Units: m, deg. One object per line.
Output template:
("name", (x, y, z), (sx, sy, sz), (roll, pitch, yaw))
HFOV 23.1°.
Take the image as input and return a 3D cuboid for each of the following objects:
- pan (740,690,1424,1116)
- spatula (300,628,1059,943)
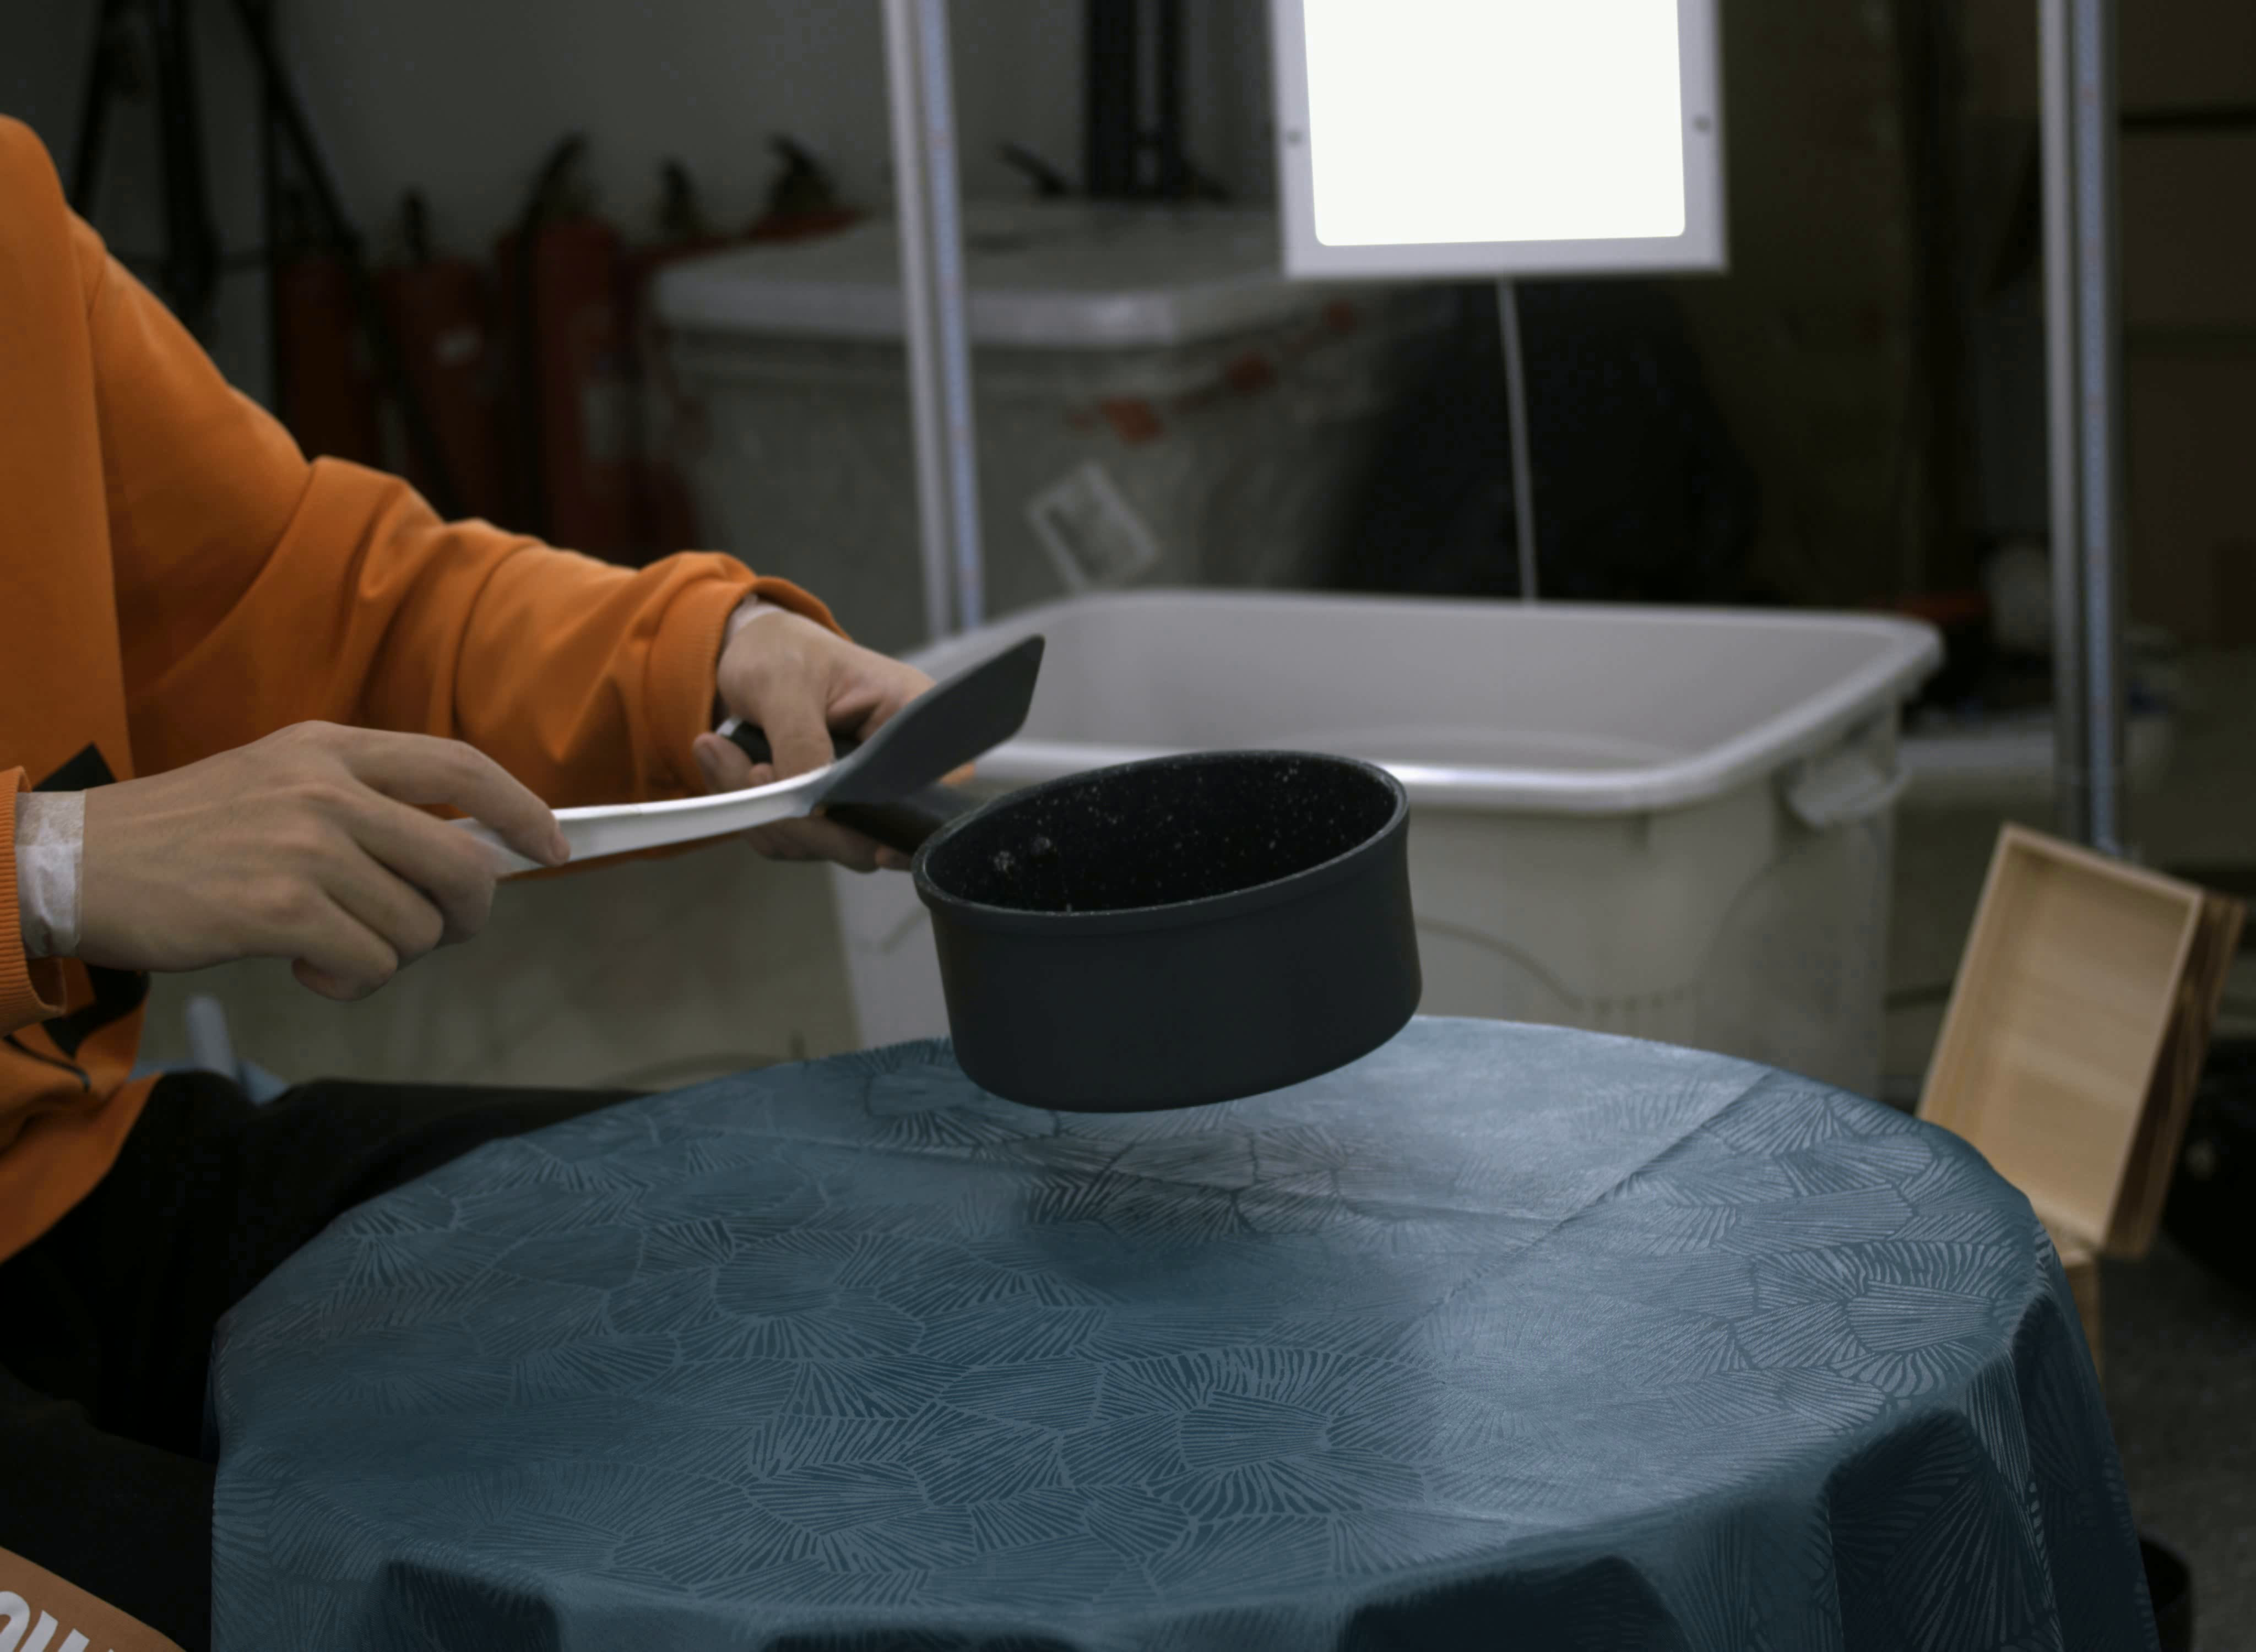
("pan", (-0.032, 0.020, 1.942), (0.168, 0.087, 0.335), (-20, 21, -32))
("spatula", (-0.142, -0.010, 1.847), (0.281, 0.059, 0.032), (-16, 46, -28))
